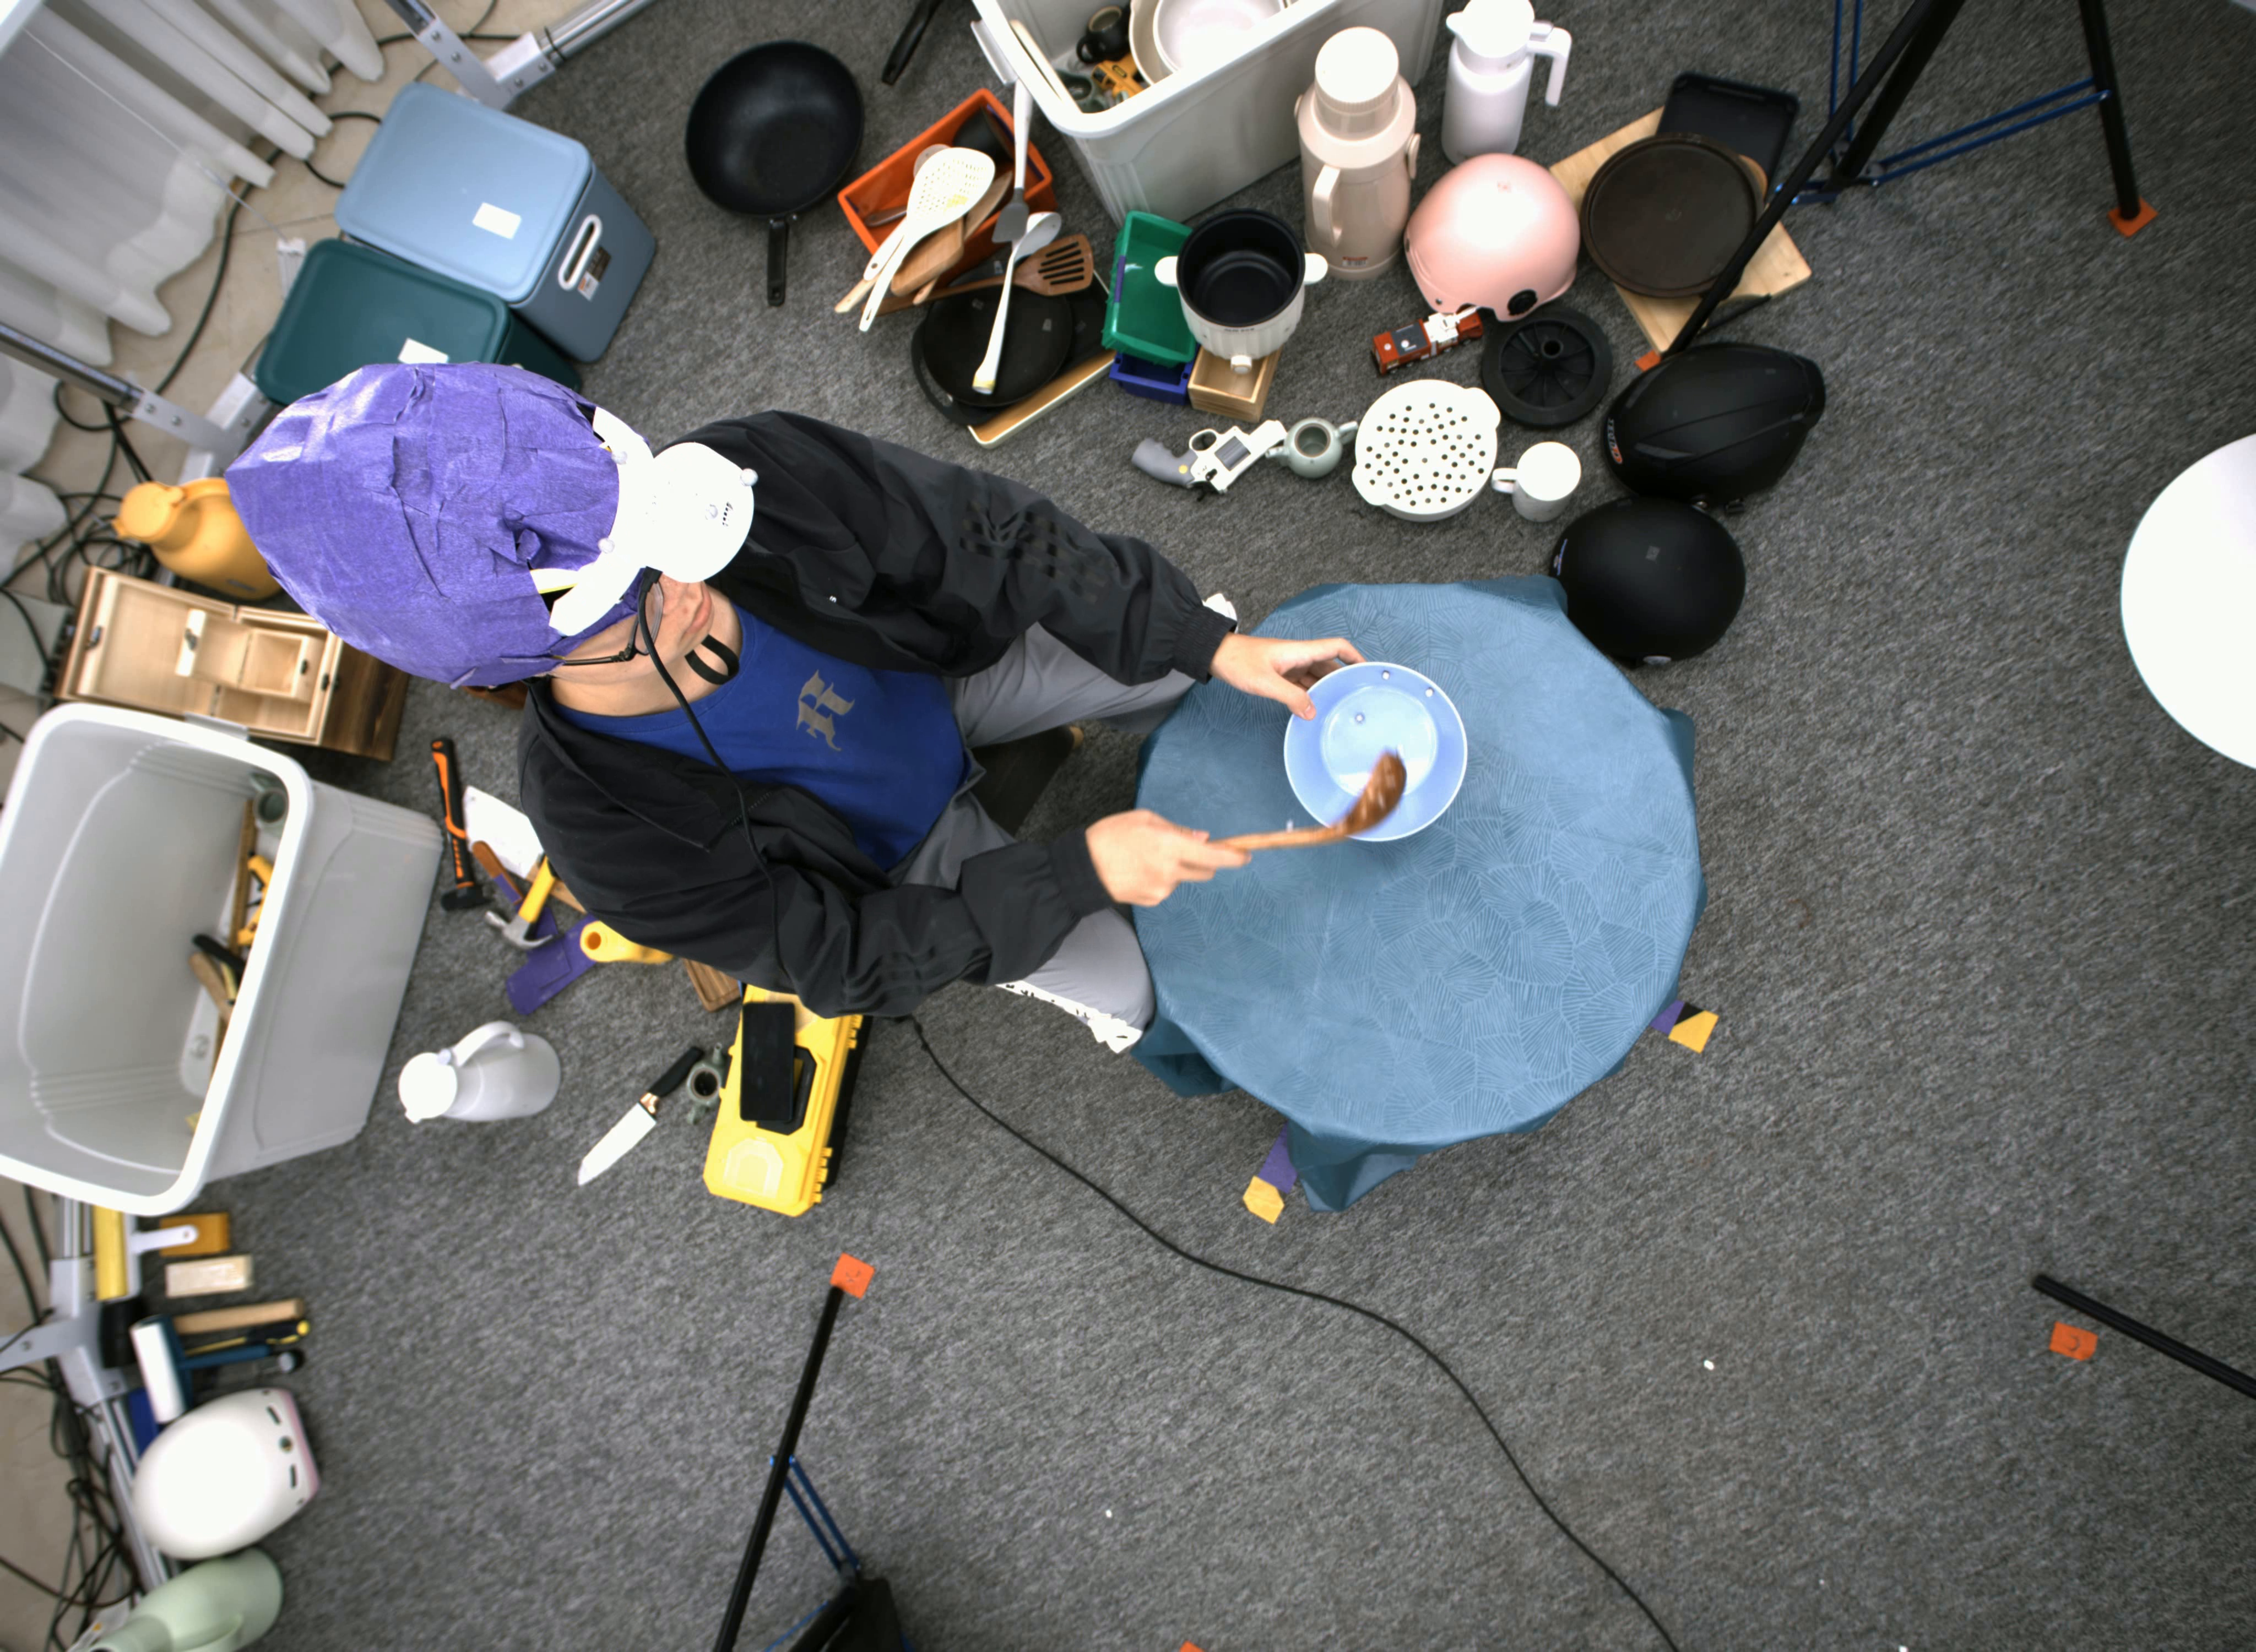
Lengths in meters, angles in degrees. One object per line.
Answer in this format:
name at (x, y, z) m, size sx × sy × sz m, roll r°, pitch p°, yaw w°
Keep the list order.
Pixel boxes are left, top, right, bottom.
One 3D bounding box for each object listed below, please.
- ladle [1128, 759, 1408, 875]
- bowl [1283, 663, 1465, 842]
ladle at (0.124, -0.008, 1.282) m, size 0.276 × 0.081 × 0.076 m, roll -8°, pitch 86°, yaw 22°
bowl at (0.245, -0.078, 1.362) m, size 0.177 × 0.069 × 0.178 m, roll 4°, pitch 106°, yaw 15°
